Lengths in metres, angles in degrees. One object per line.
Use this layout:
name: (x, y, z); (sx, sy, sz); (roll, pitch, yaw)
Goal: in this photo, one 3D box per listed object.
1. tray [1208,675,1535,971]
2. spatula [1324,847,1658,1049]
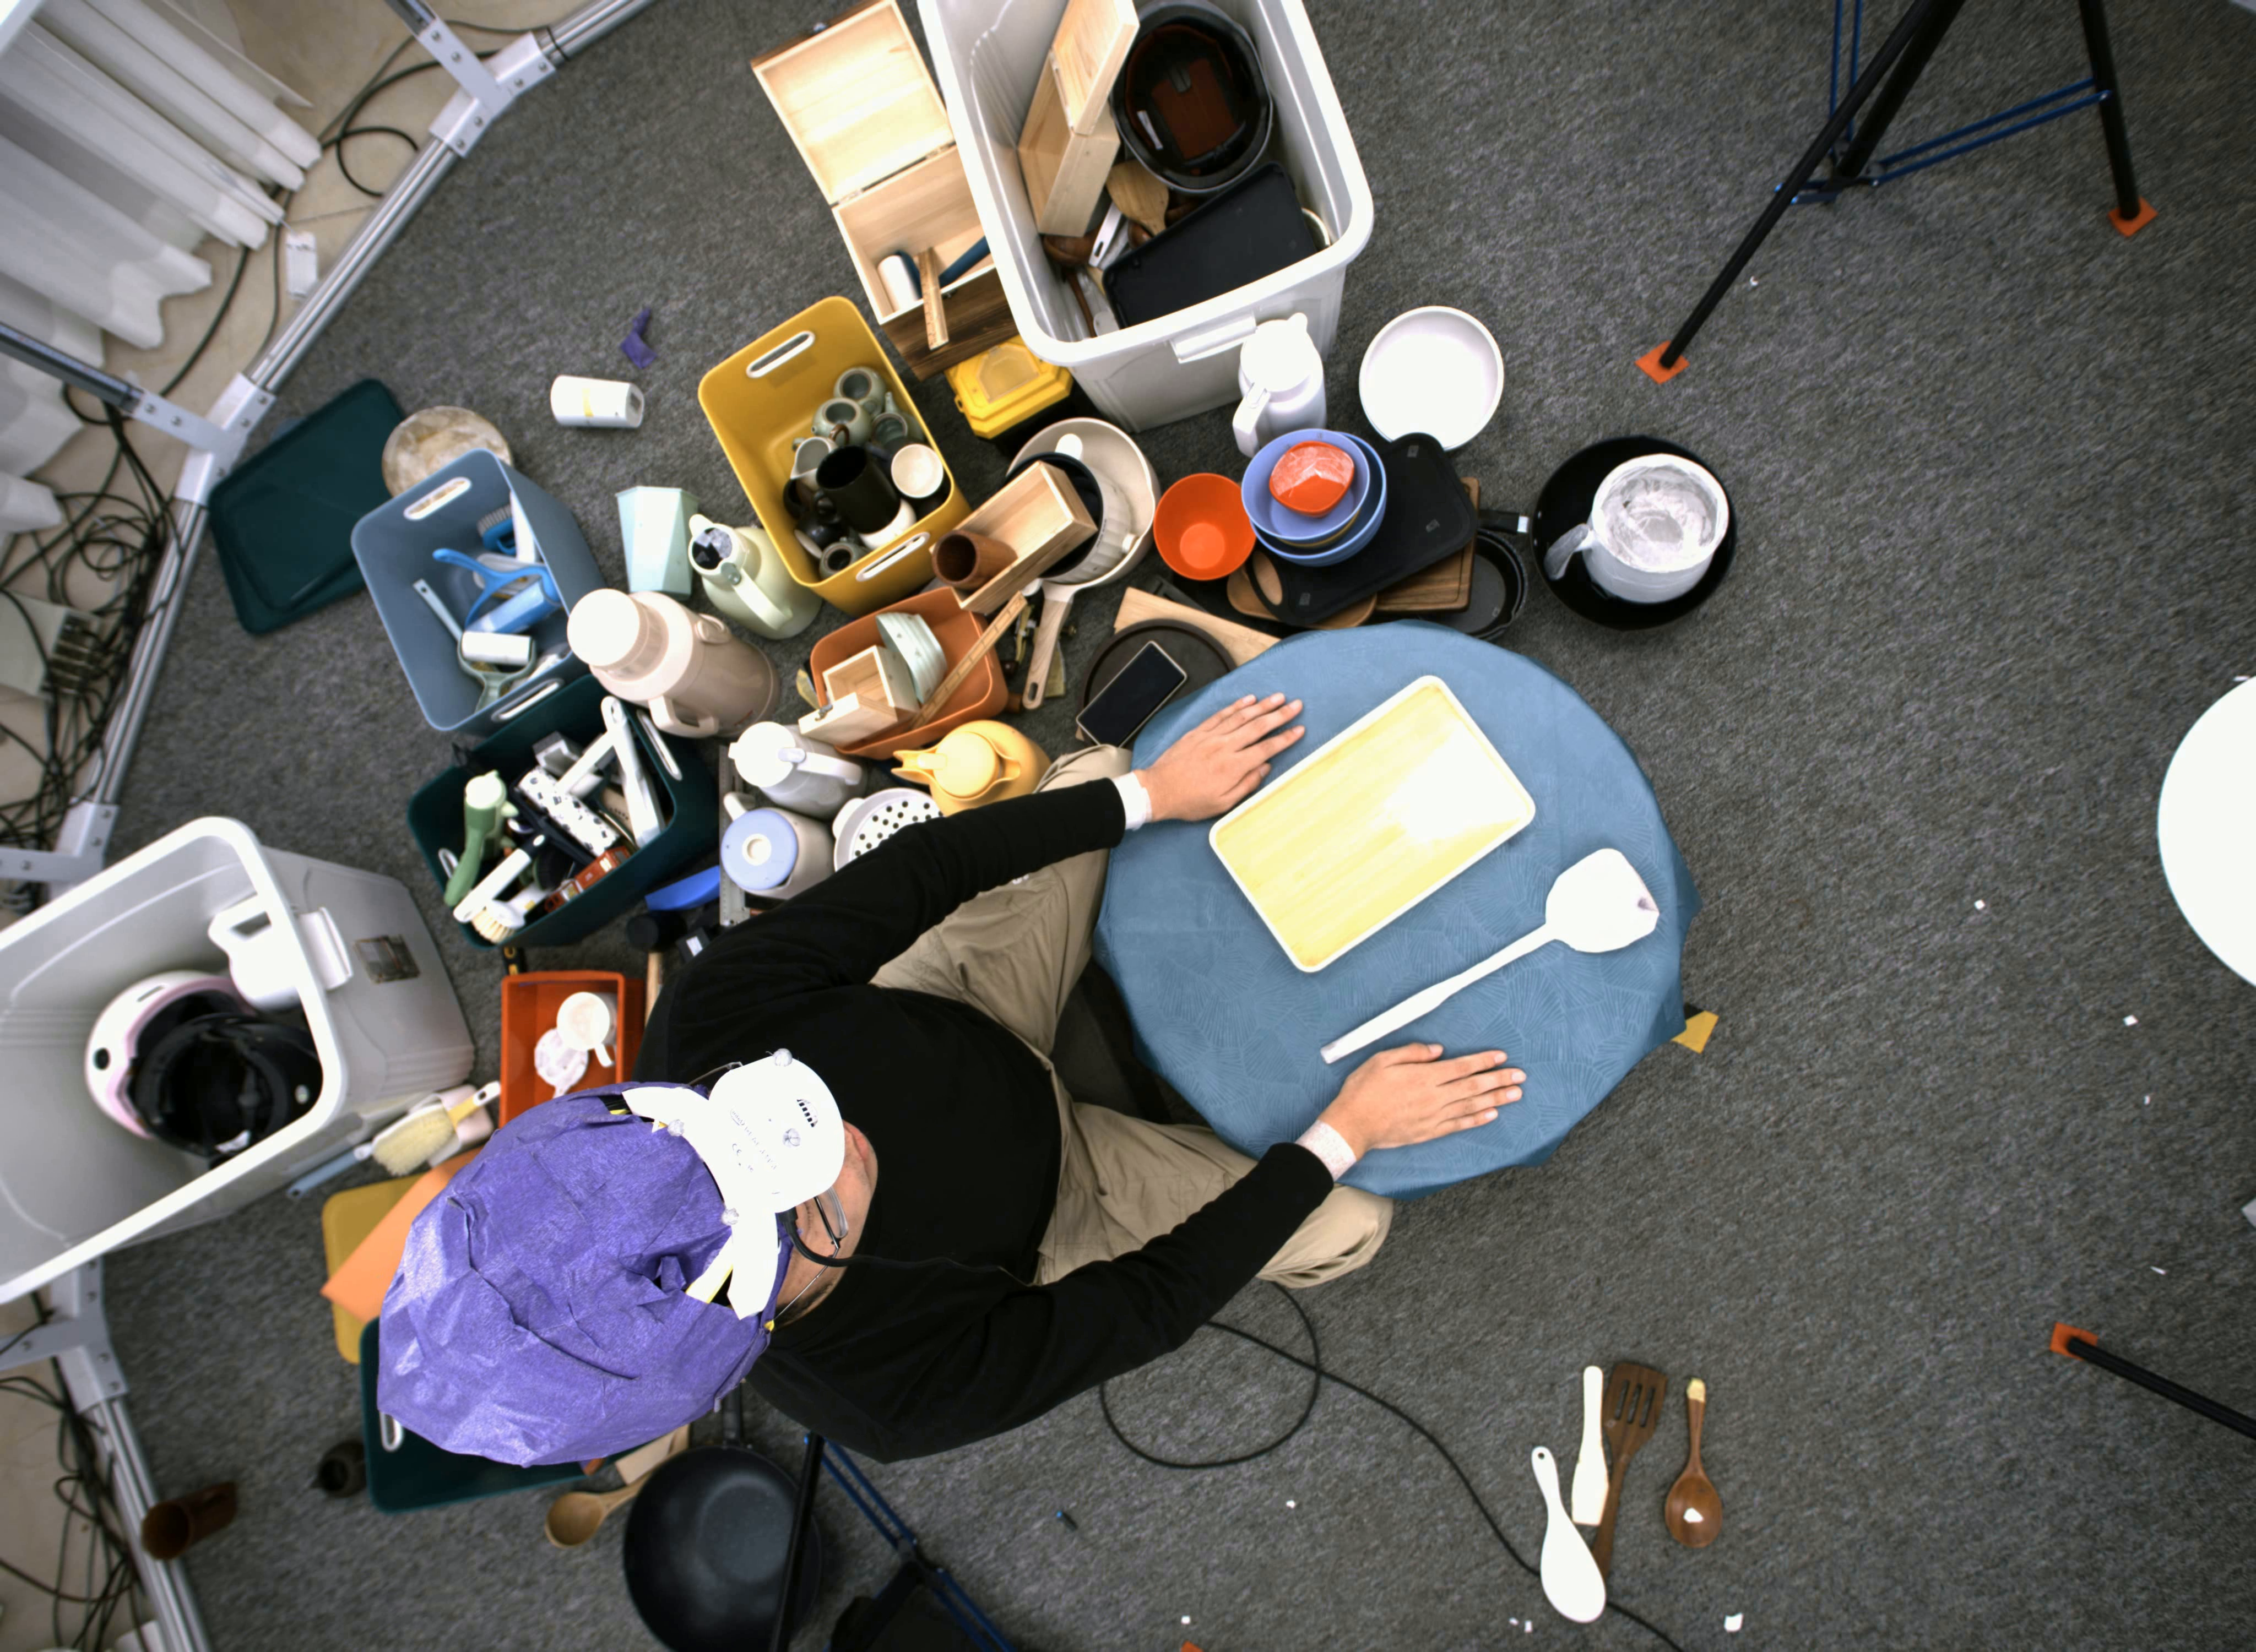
tray: (0.254, -0.004, 1.454); (0.302, 0.027, 0.190); (-35, 81, 7)
spatula: (0.365, 0.142, 1.419); (0.367, 0.045, 0.098); (-30, 82, 7)
